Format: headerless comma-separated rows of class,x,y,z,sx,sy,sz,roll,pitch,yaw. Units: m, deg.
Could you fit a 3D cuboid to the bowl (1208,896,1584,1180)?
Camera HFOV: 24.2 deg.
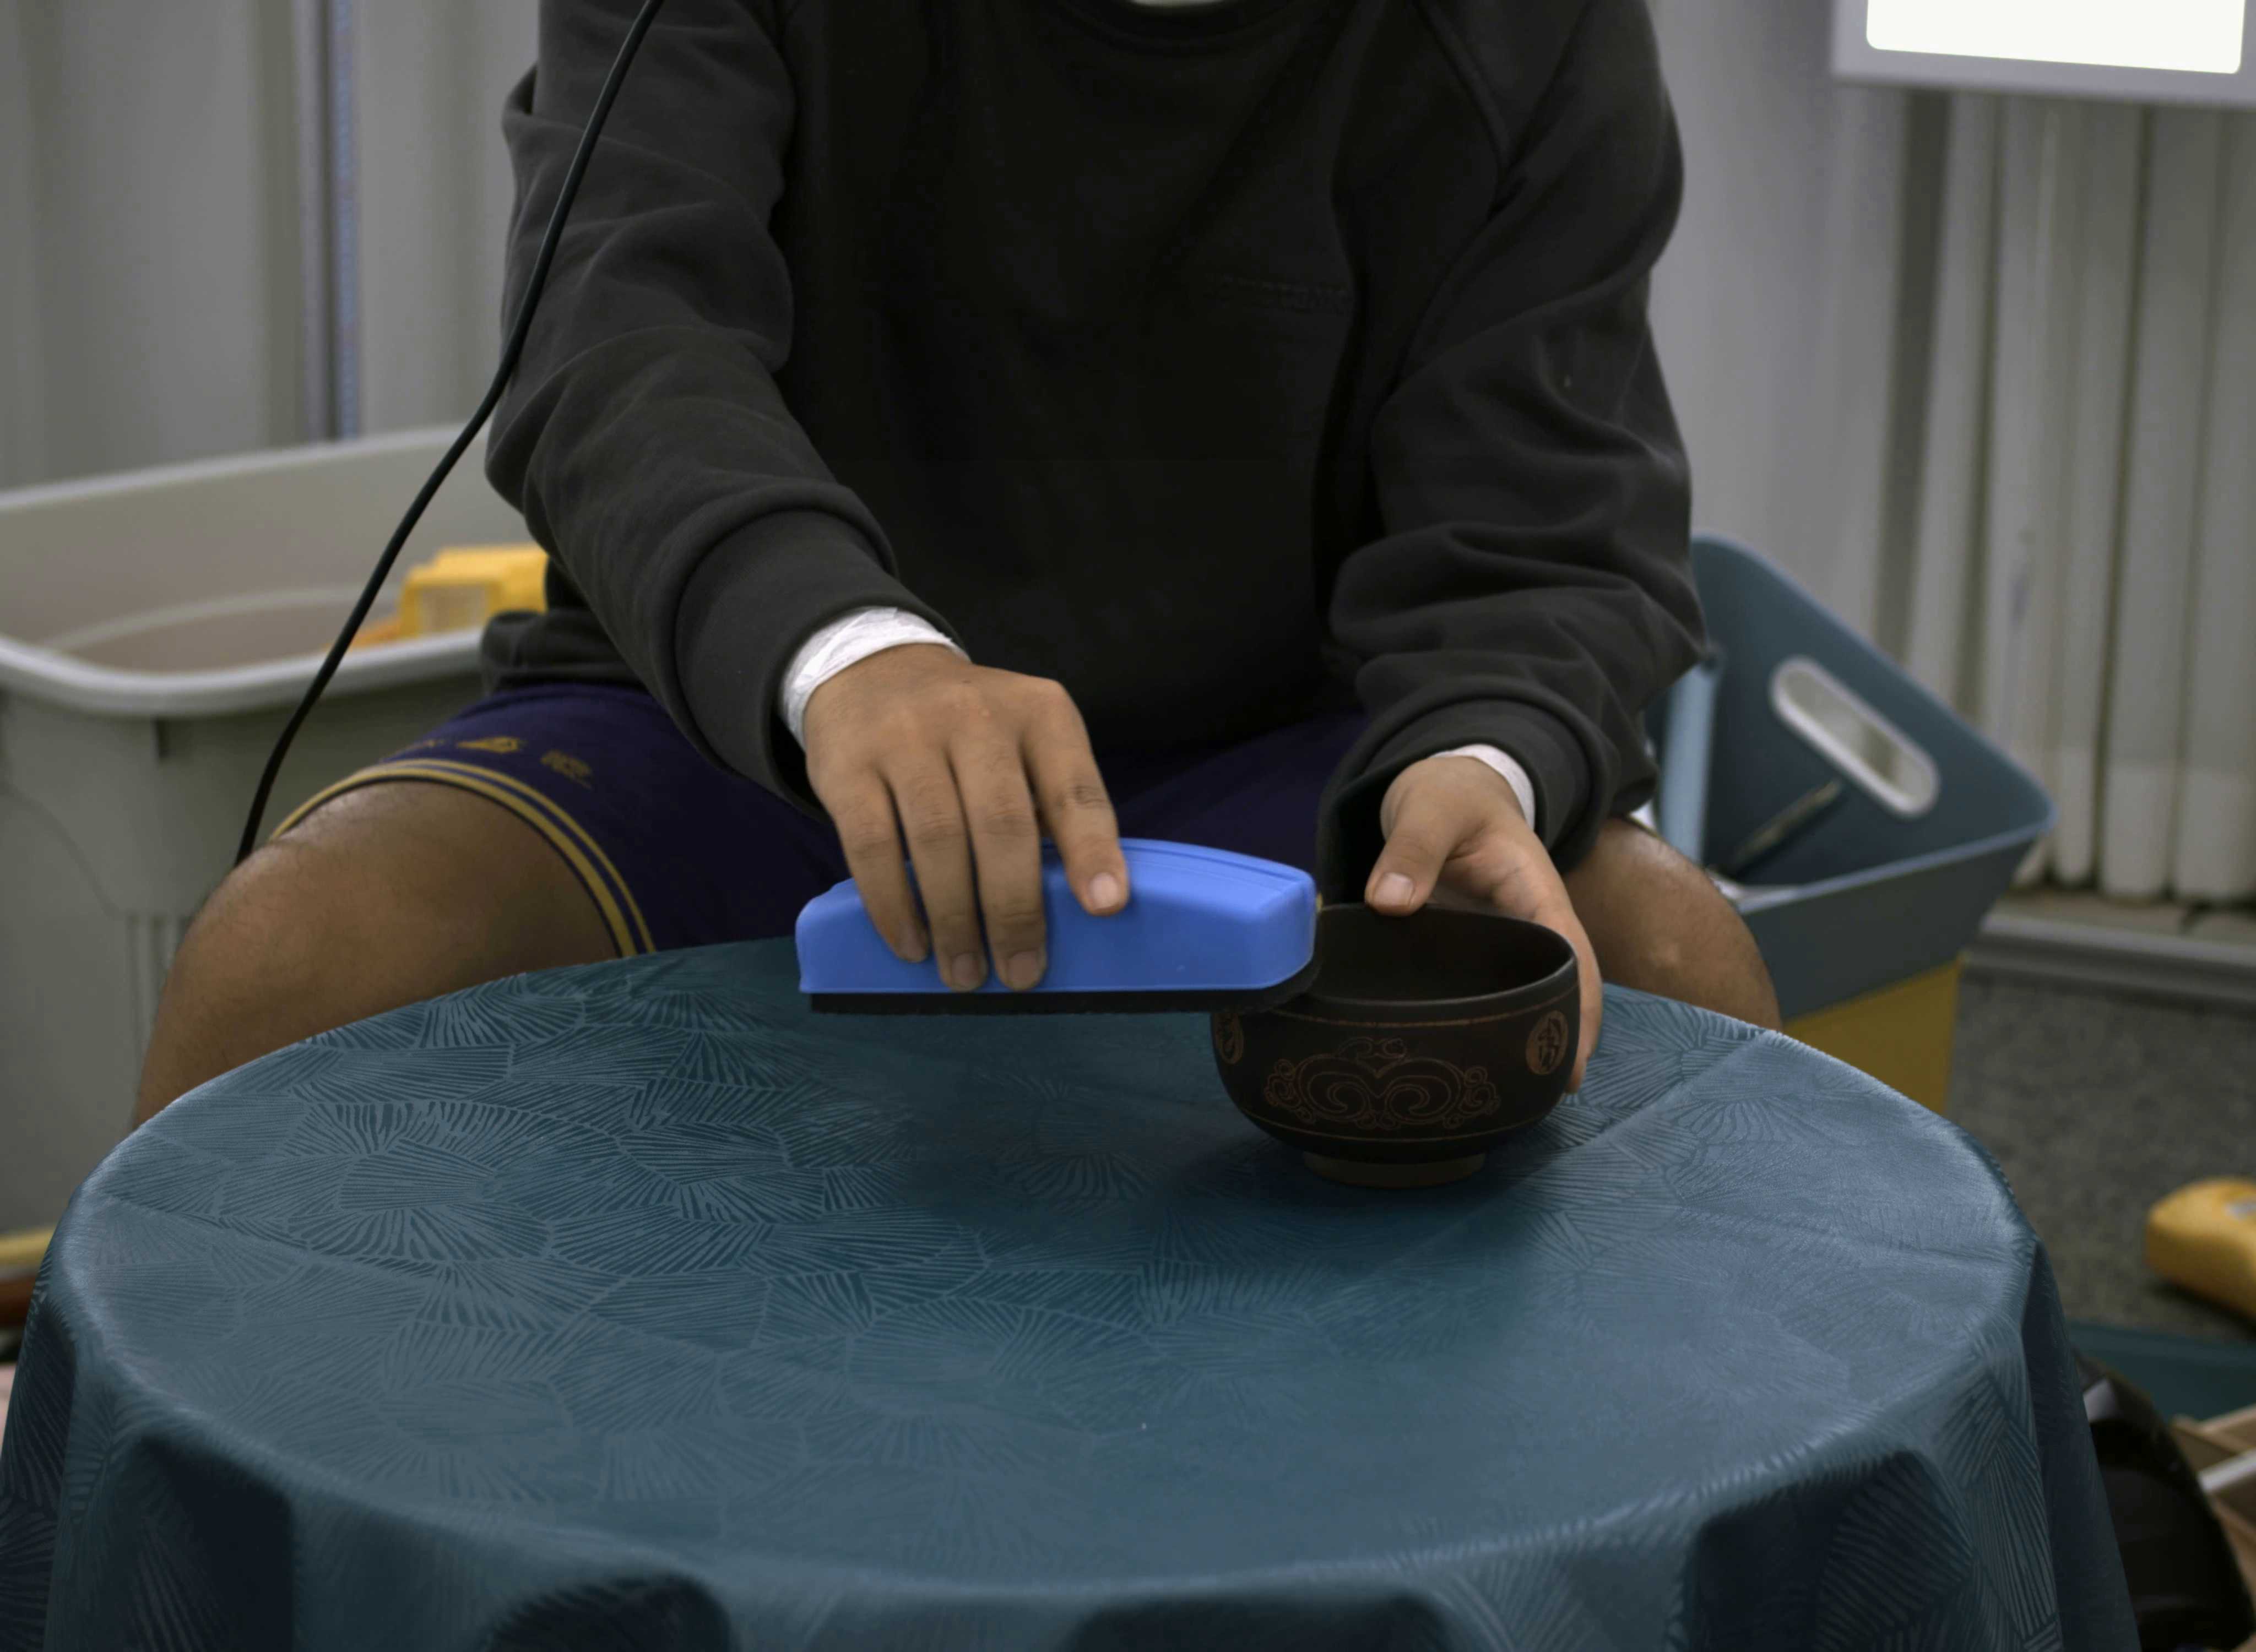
bowl,0.083,0.069,1.640,0.117,0.070,0.117,0,14,1

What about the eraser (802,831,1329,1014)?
eraser,-0.020,0.029,1.603,0.161,0.048,0.054,-1,17,20
